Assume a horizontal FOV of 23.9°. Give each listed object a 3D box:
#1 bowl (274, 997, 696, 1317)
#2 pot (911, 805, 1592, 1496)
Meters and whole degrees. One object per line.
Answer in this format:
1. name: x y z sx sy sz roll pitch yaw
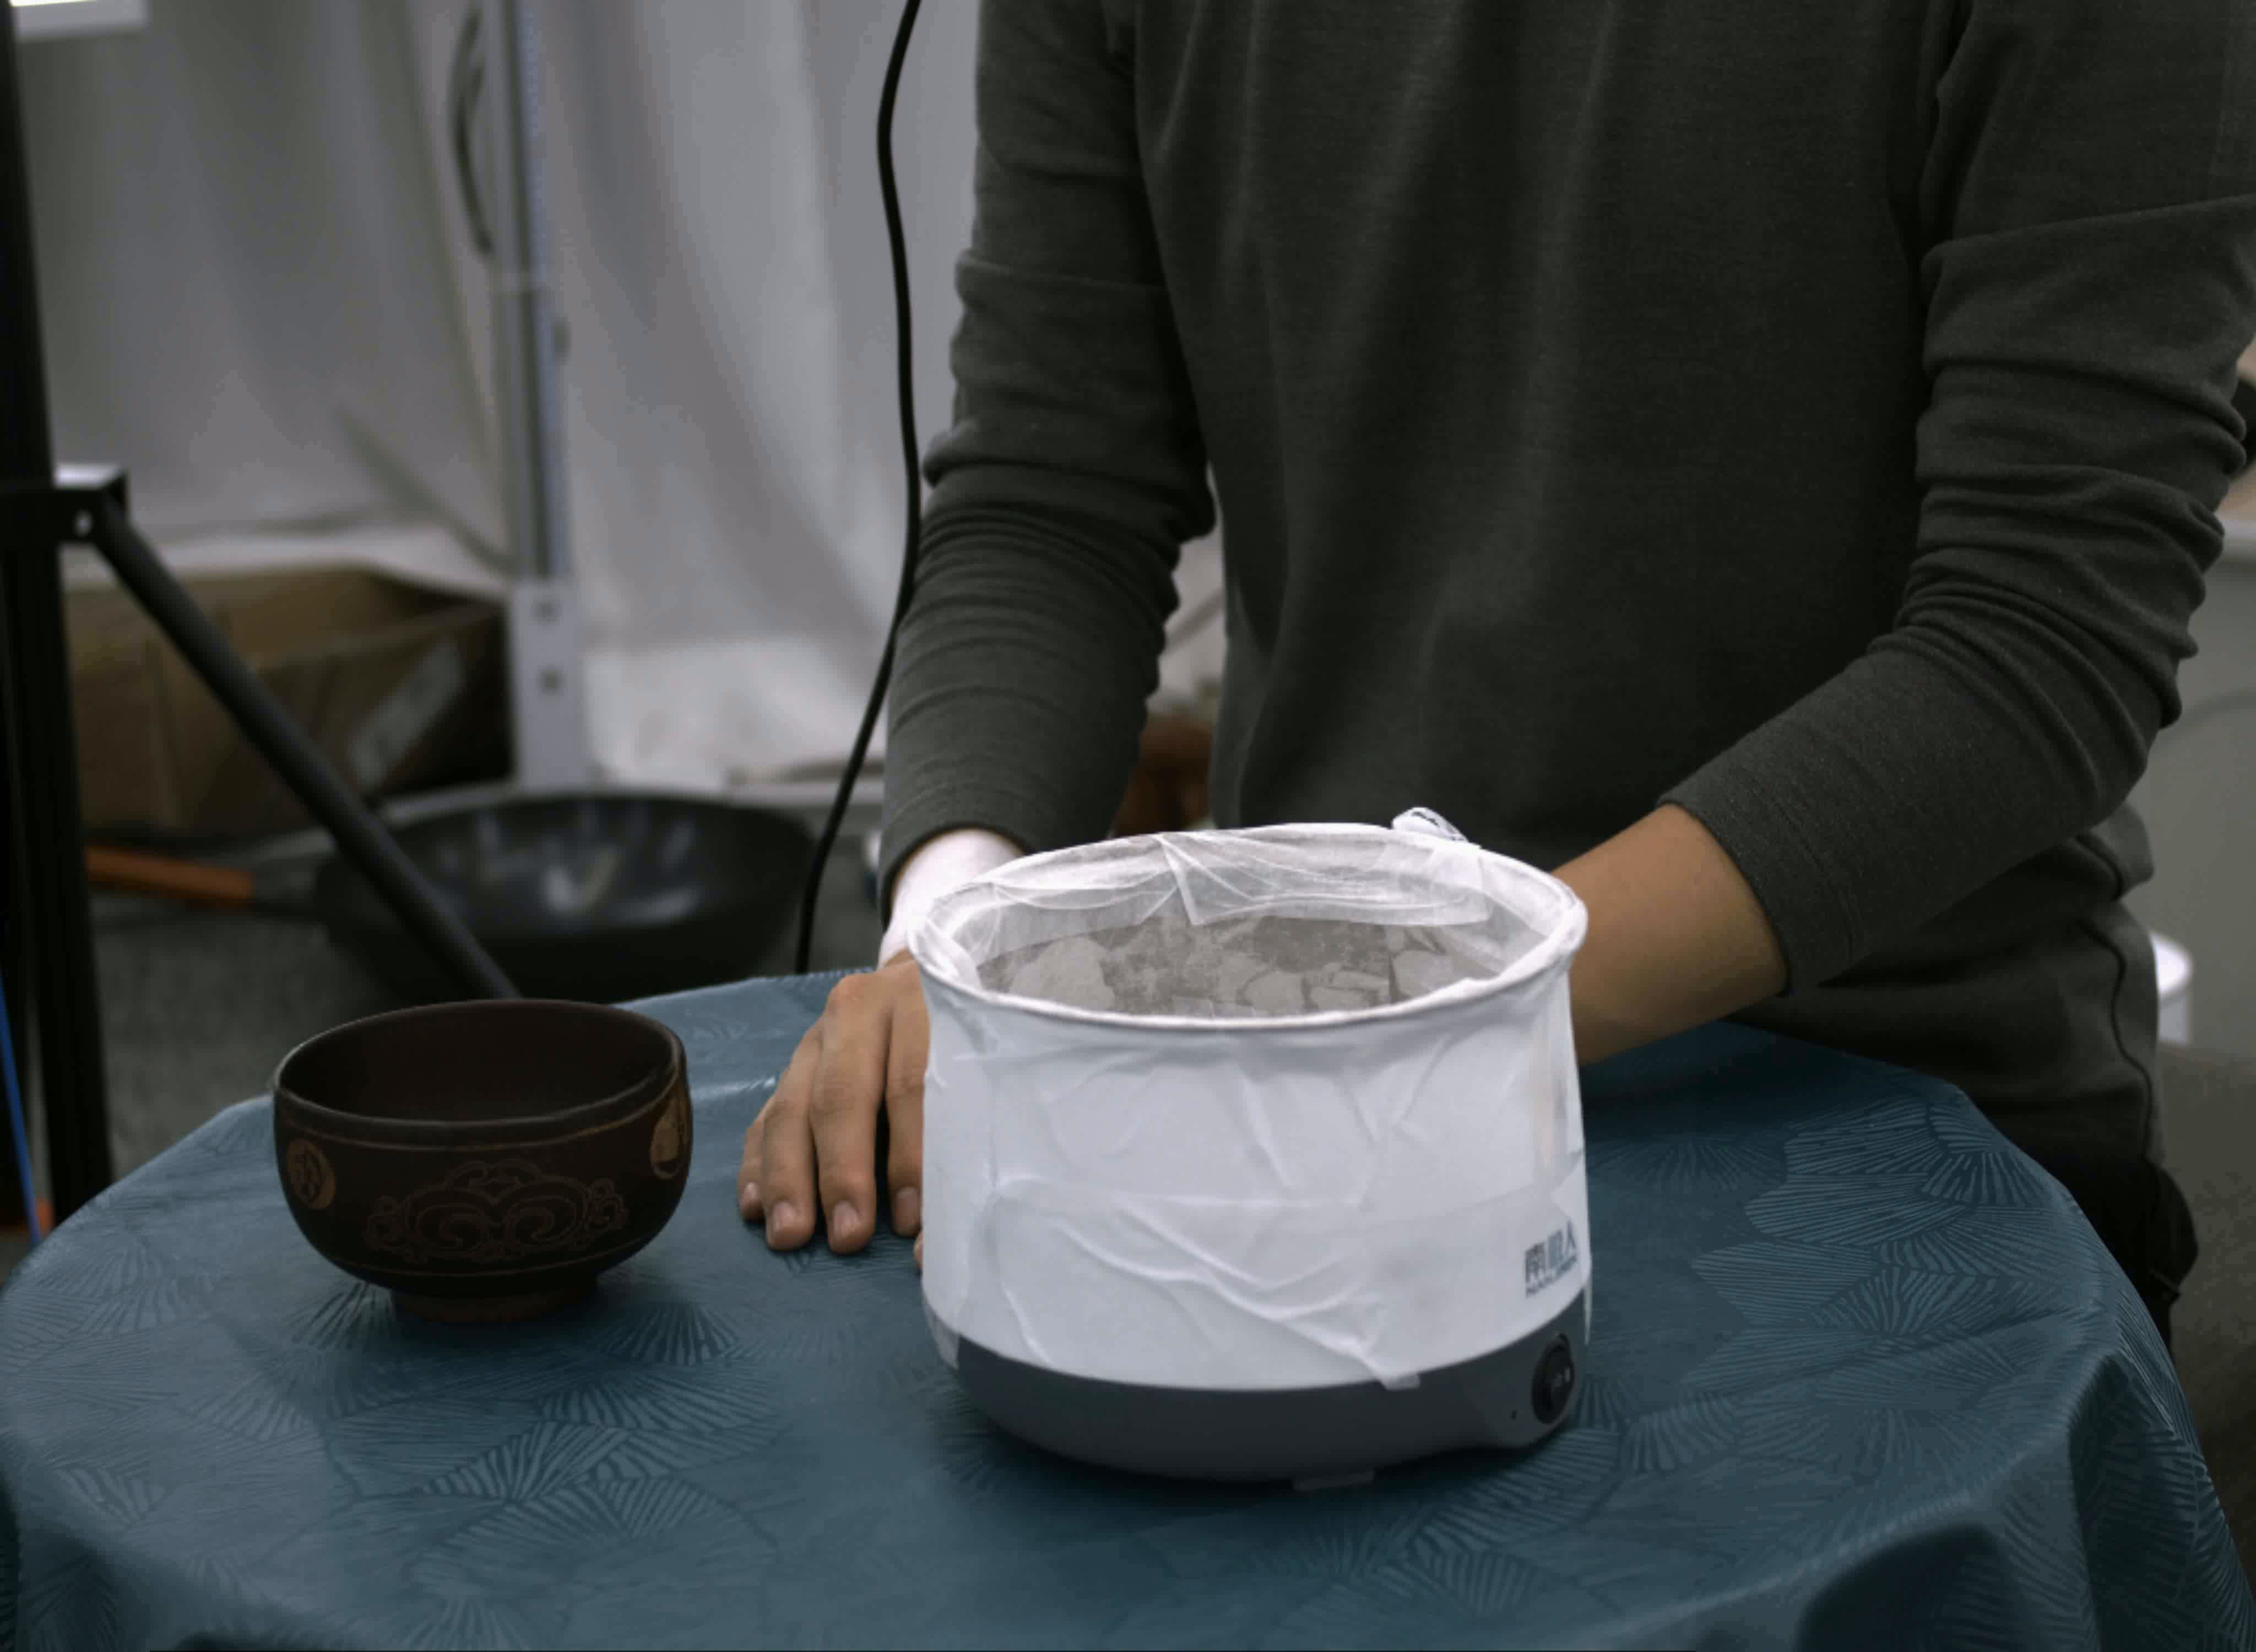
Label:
1. bowl: -0.179 0.097 1.499 0.117 0.070 0.118 -2 13 -1
2. pot: 0.046 0.078 1.409 0.182 0.136 0.229 7 18 29
